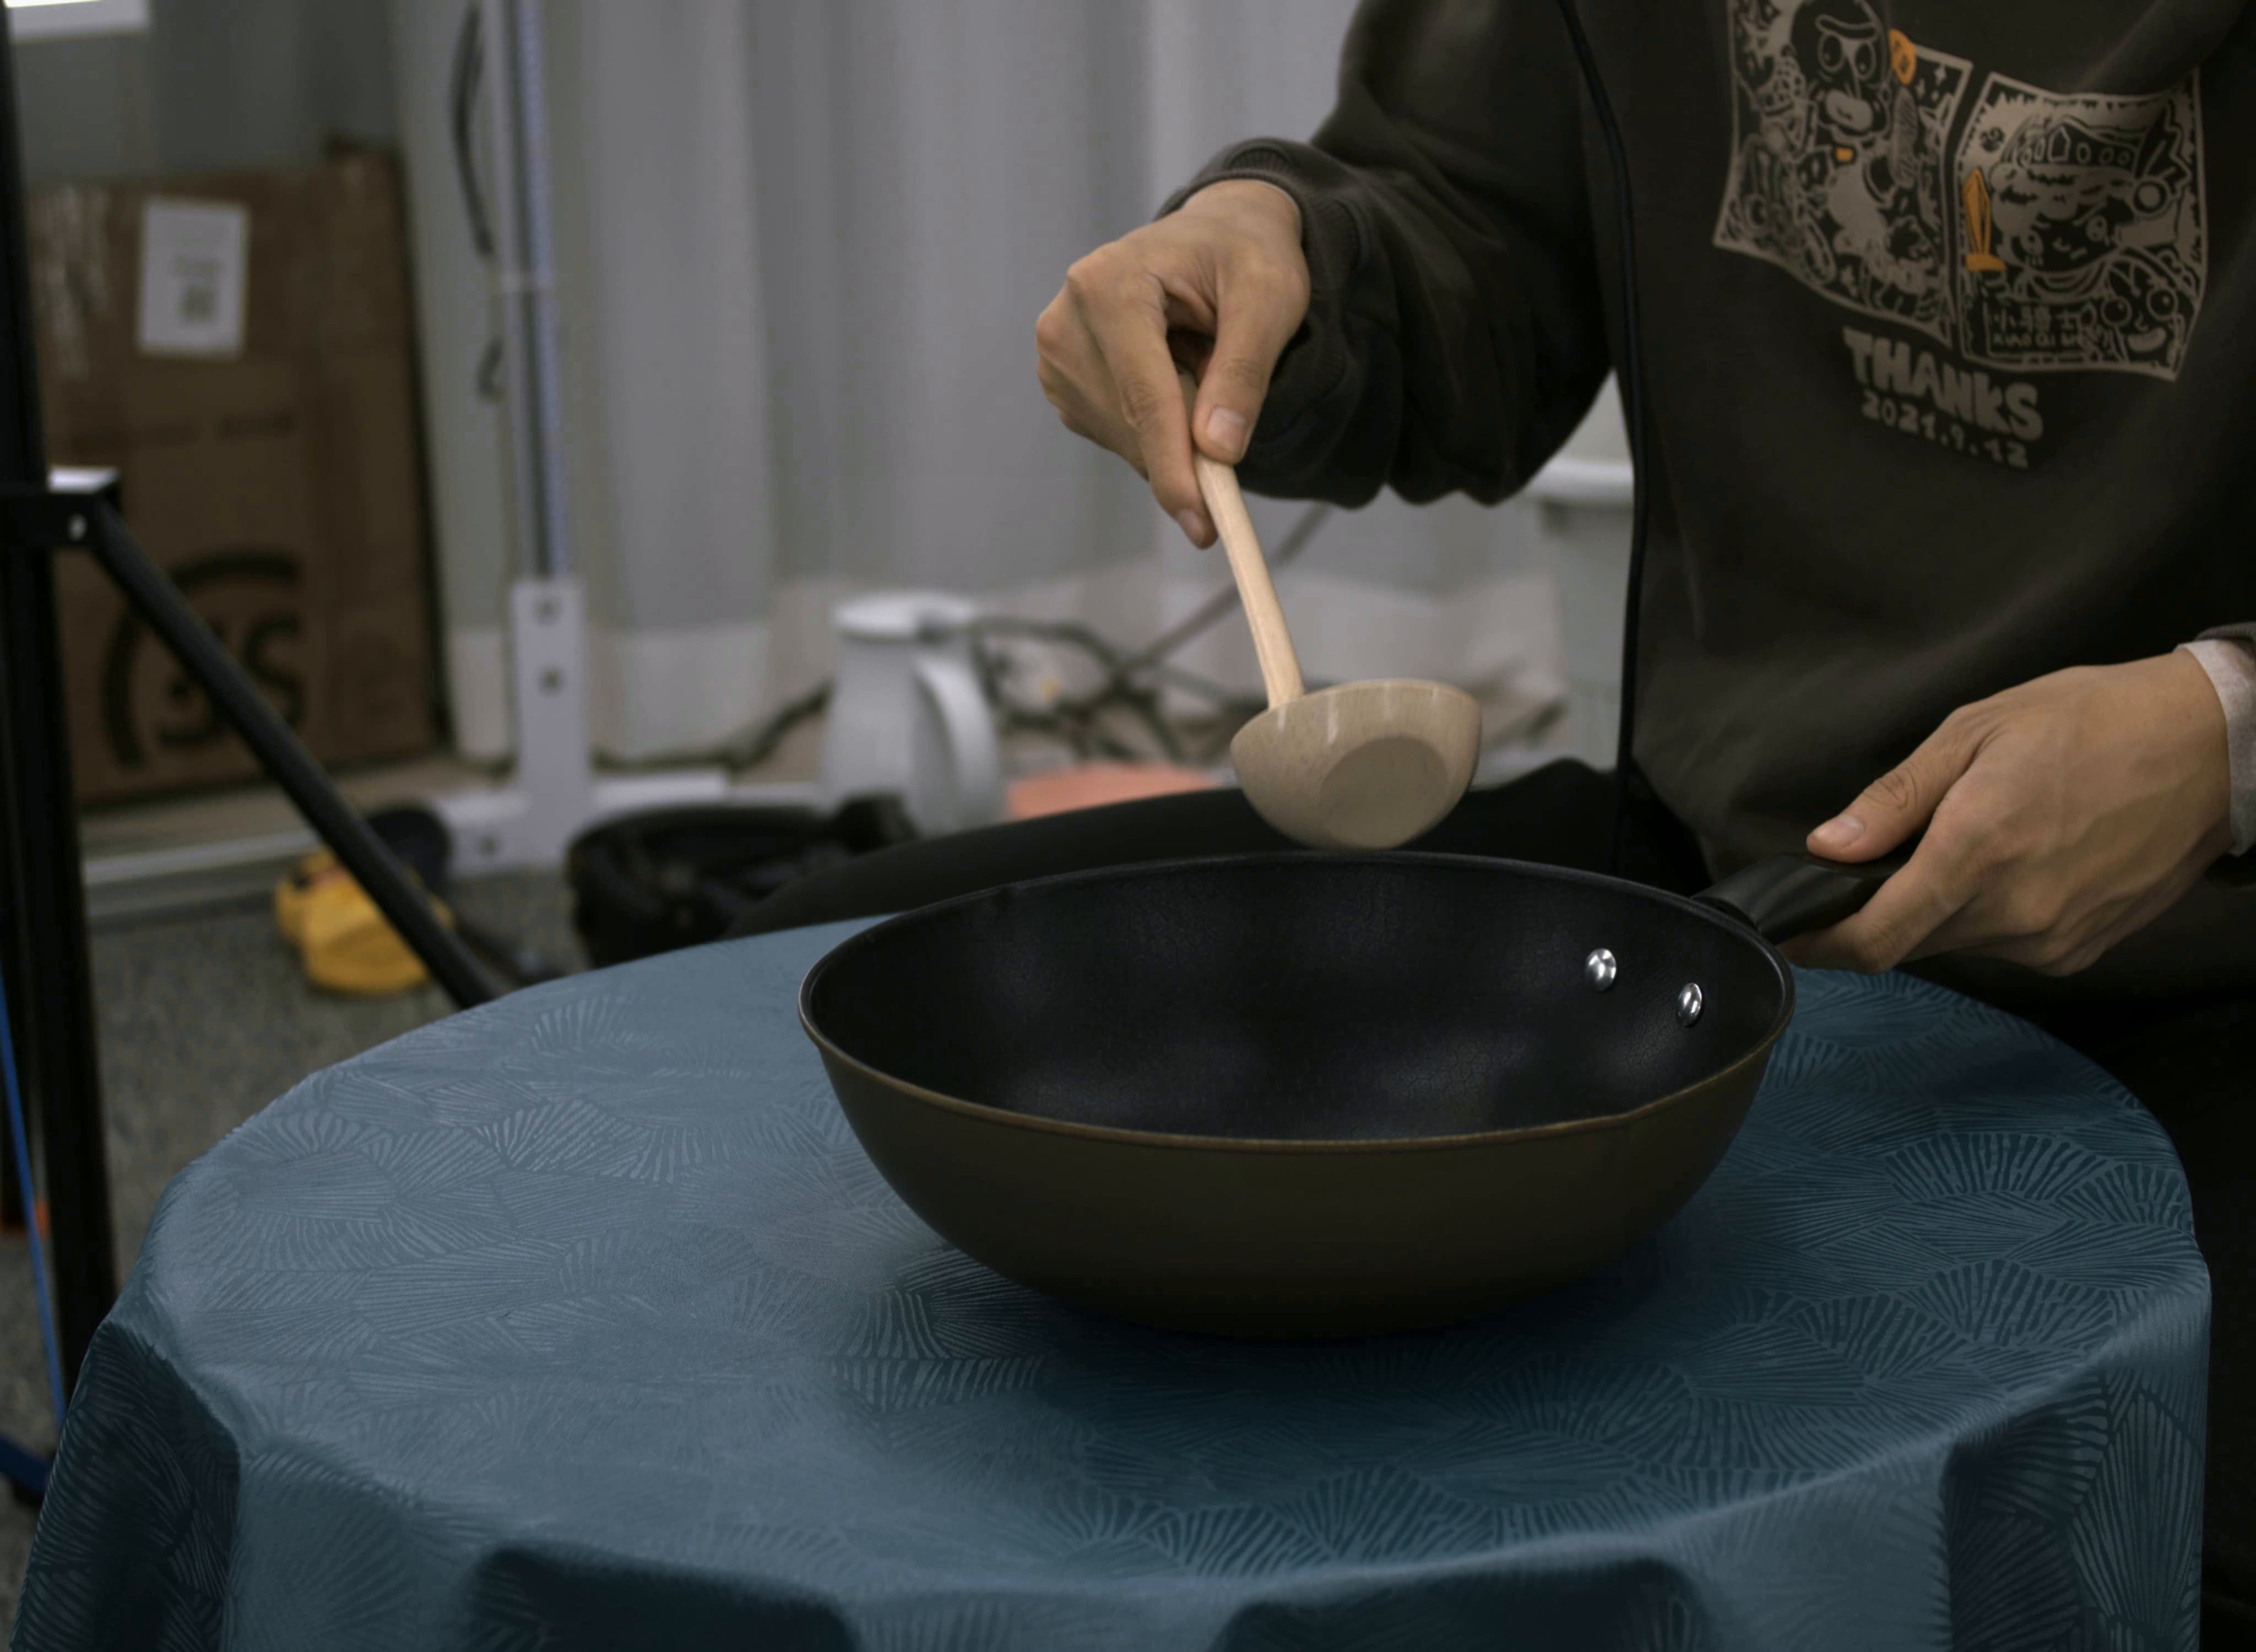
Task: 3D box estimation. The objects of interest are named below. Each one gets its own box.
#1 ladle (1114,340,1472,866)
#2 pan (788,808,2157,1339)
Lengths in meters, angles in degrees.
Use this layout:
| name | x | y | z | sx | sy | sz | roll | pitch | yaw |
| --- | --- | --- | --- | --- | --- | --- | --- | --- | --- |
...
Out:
| name | x | y | z | sx | sy | sz | roll | pitch | yaw |
| --- | --- | --- | --- | --- | --- | --- | --- | --- | --- |
| ladle | 0.039 | -0.091 | 1.591 | 0.071 | 0.073 | 0.259 | -4 | 45 | -16 |
| pan | 0.120 | 0.066 | 1.541 | 0.453 | 0.087 | 0.294 | -10 | 17 | -31 |
